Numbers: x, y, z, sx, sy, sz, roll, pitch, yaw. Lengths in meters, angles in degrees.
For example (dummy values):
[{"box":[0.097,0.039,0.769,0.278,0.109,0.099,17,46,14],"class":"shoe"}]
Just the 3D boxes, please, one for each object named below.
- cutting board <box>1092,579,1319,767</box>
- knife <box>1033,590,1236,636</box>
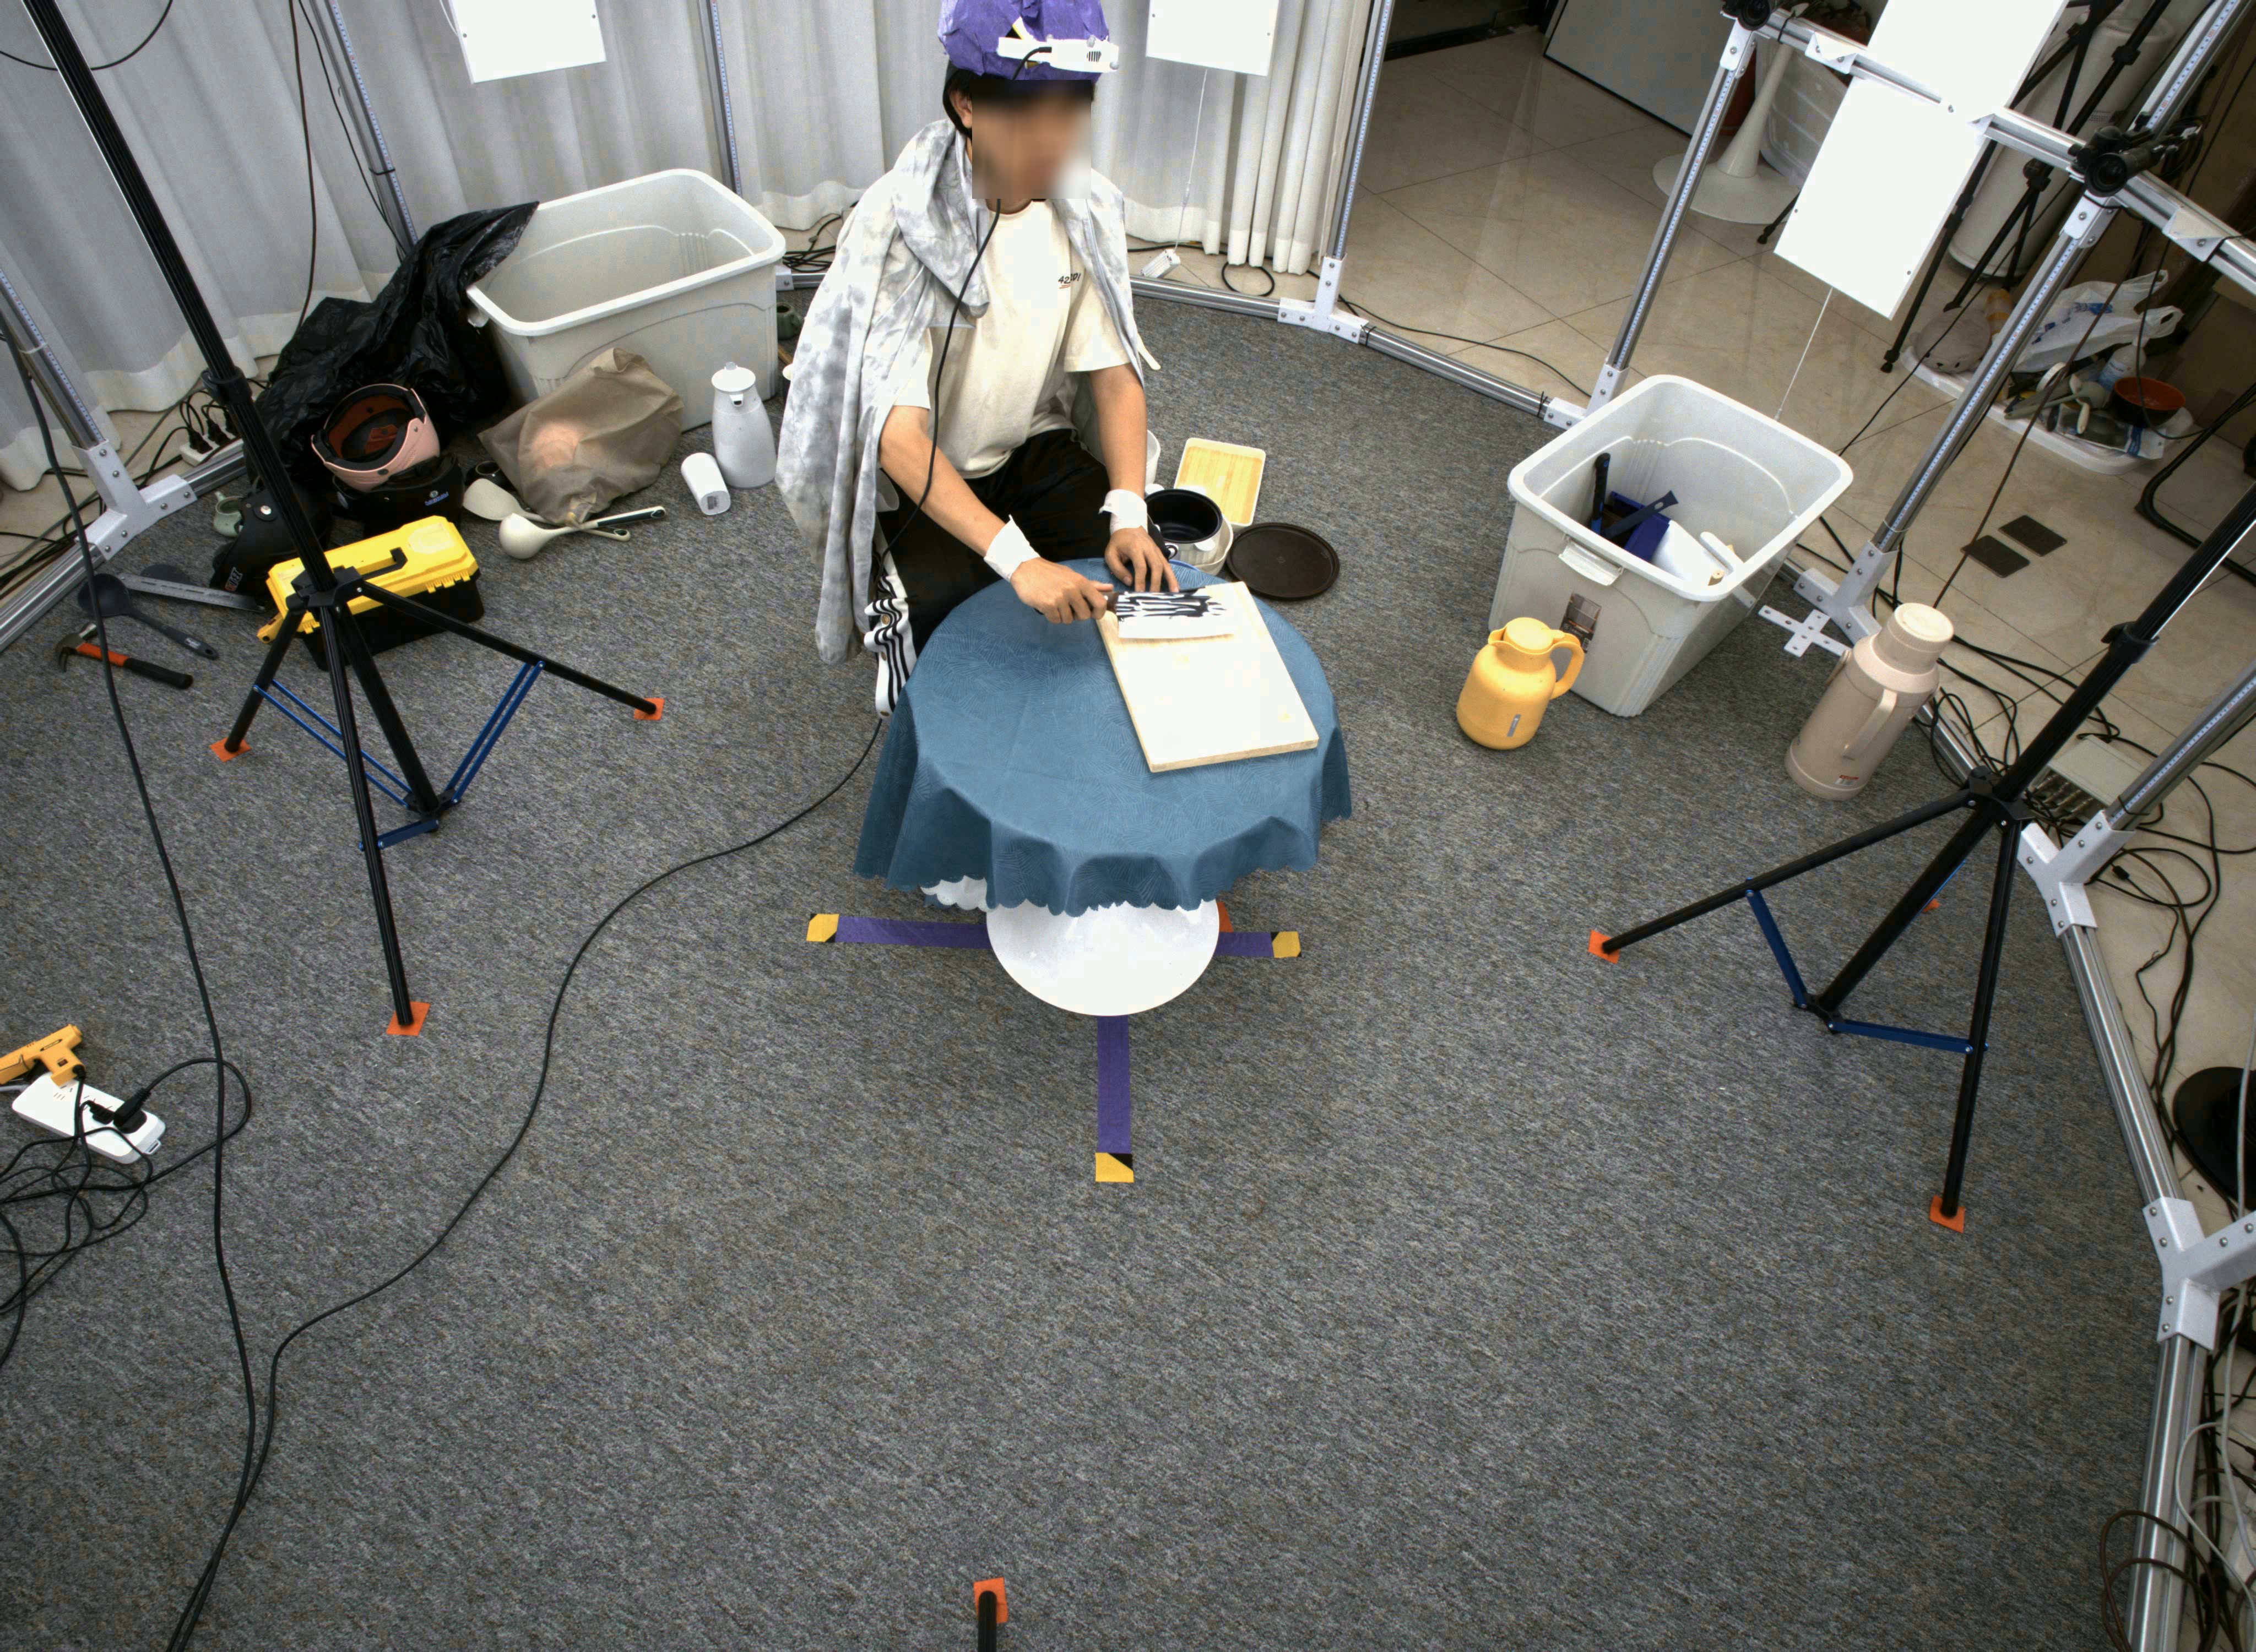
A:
[{"box":[0.104,-0.228,1.856,0.250,0.023,0.357,-10,50,-12],"class":"cutting board"},{"box":[0.012,-0.308,1.860,0.299,0.024,0.068,0,83,-11],"class":"knife"}]
